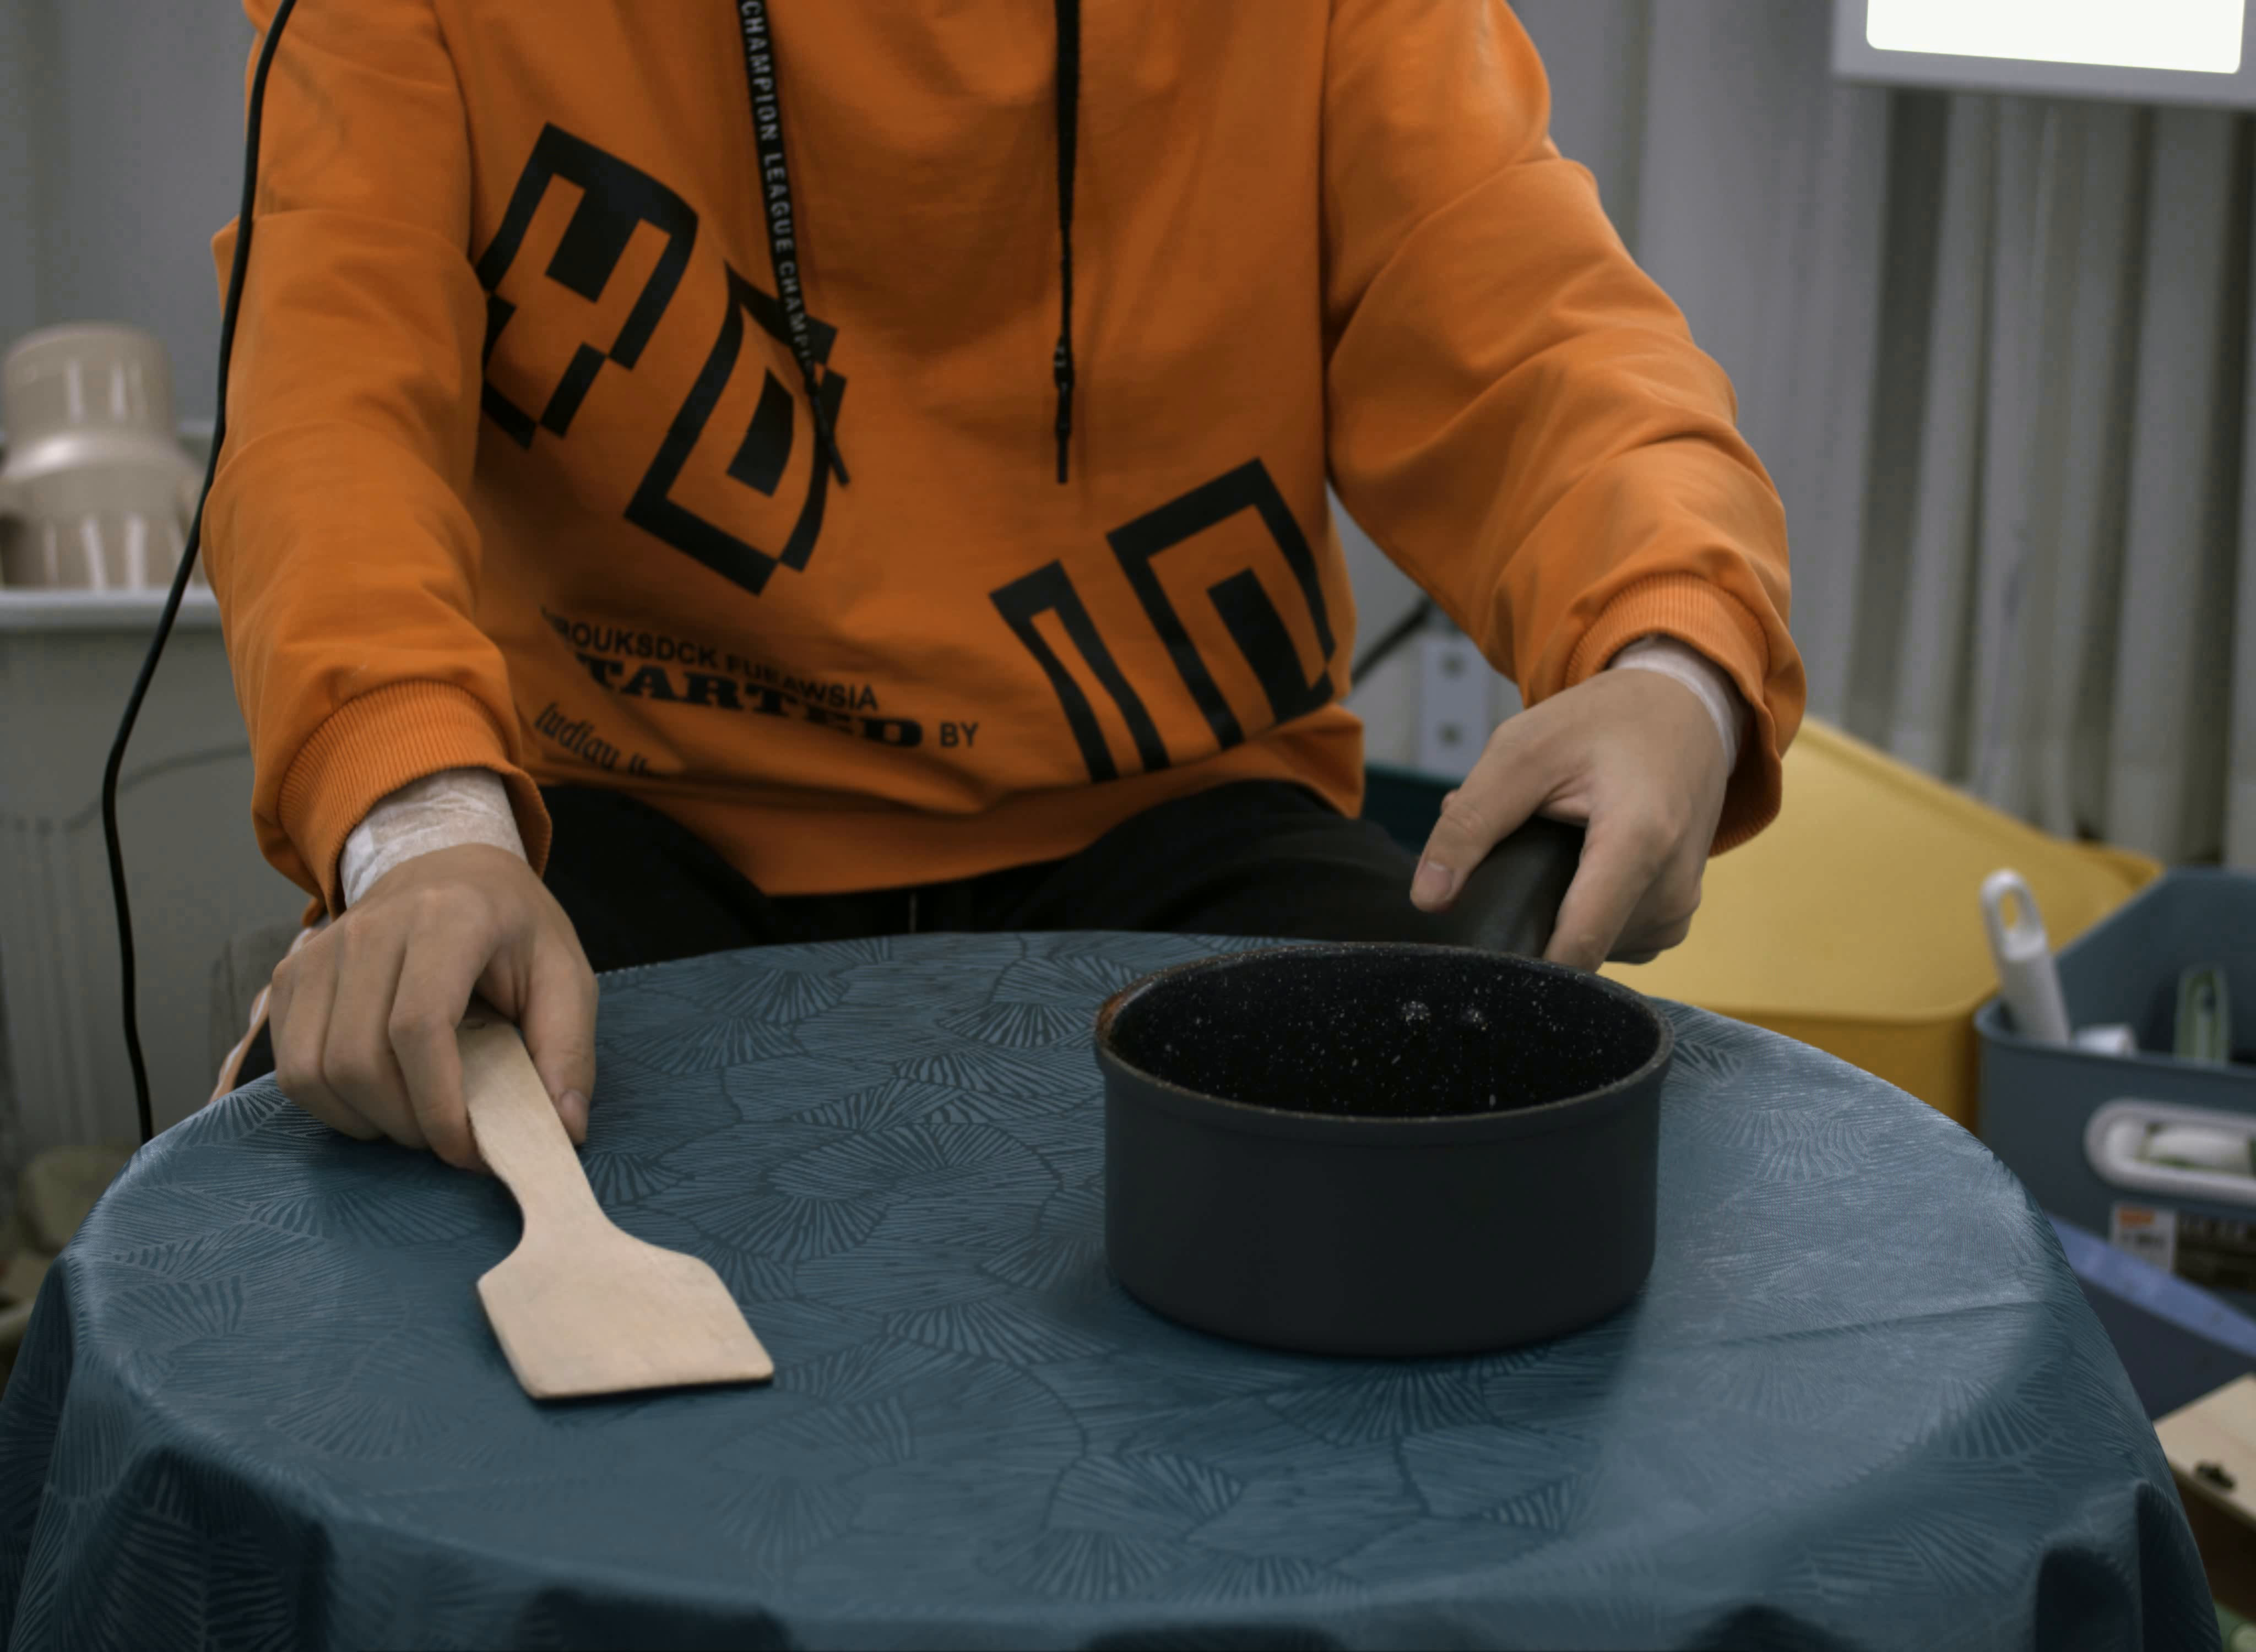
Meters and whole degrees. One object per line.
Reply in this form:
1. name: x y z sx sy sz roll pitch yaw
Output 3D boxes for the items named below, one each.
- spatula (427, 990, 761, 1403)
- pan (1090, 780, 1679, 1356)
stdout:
1. spatula: -0.176 0.107 1.583 0.072 0.011 0.289 -6 22 -16
2. pan: 0.101 0.070 1.620 0.170 0.087 0.329 6 18 18
